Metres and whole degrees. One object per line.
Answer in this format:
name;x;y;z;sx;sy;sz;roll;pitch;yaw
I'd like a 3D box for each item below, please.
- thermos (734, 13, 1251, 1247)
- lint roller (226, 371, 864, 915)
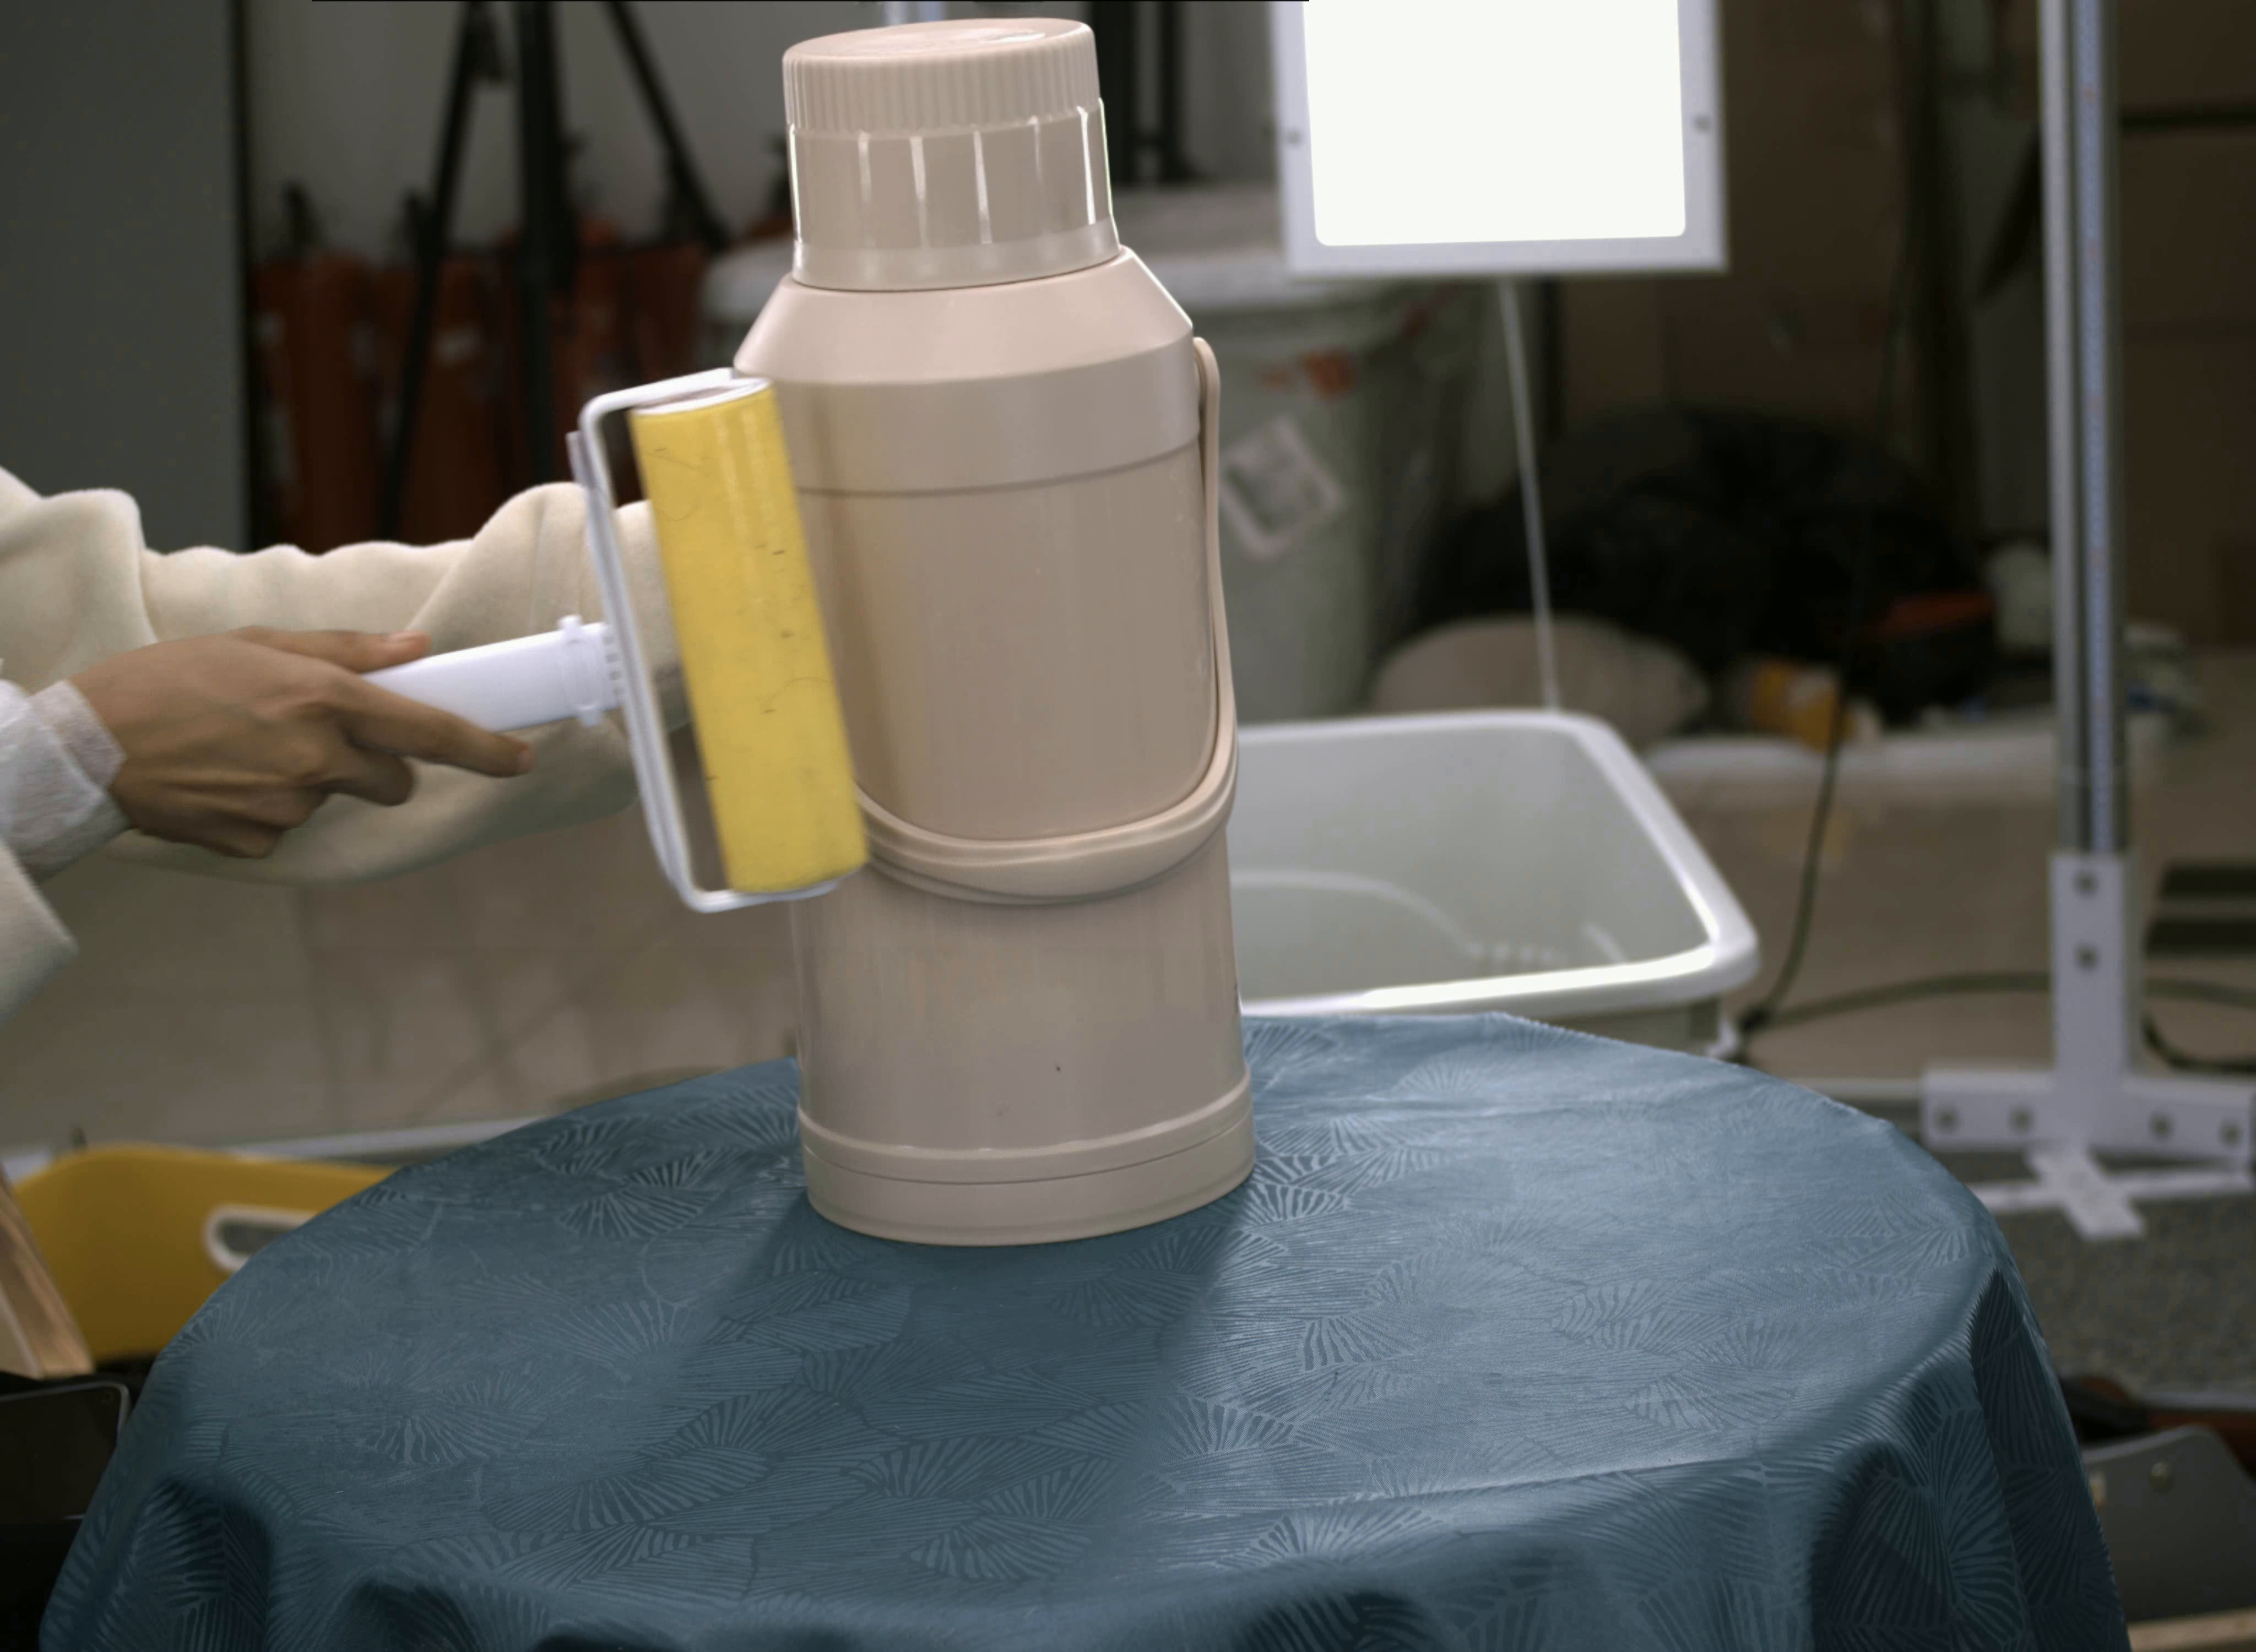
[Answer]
thermos;-0.053;-0.072;1.892;0.172;0.408;0.210;-10;15;-20
lint roller;-0.193;-0.042;1.768;0.189;0.174;0.052;-15;13;-13
